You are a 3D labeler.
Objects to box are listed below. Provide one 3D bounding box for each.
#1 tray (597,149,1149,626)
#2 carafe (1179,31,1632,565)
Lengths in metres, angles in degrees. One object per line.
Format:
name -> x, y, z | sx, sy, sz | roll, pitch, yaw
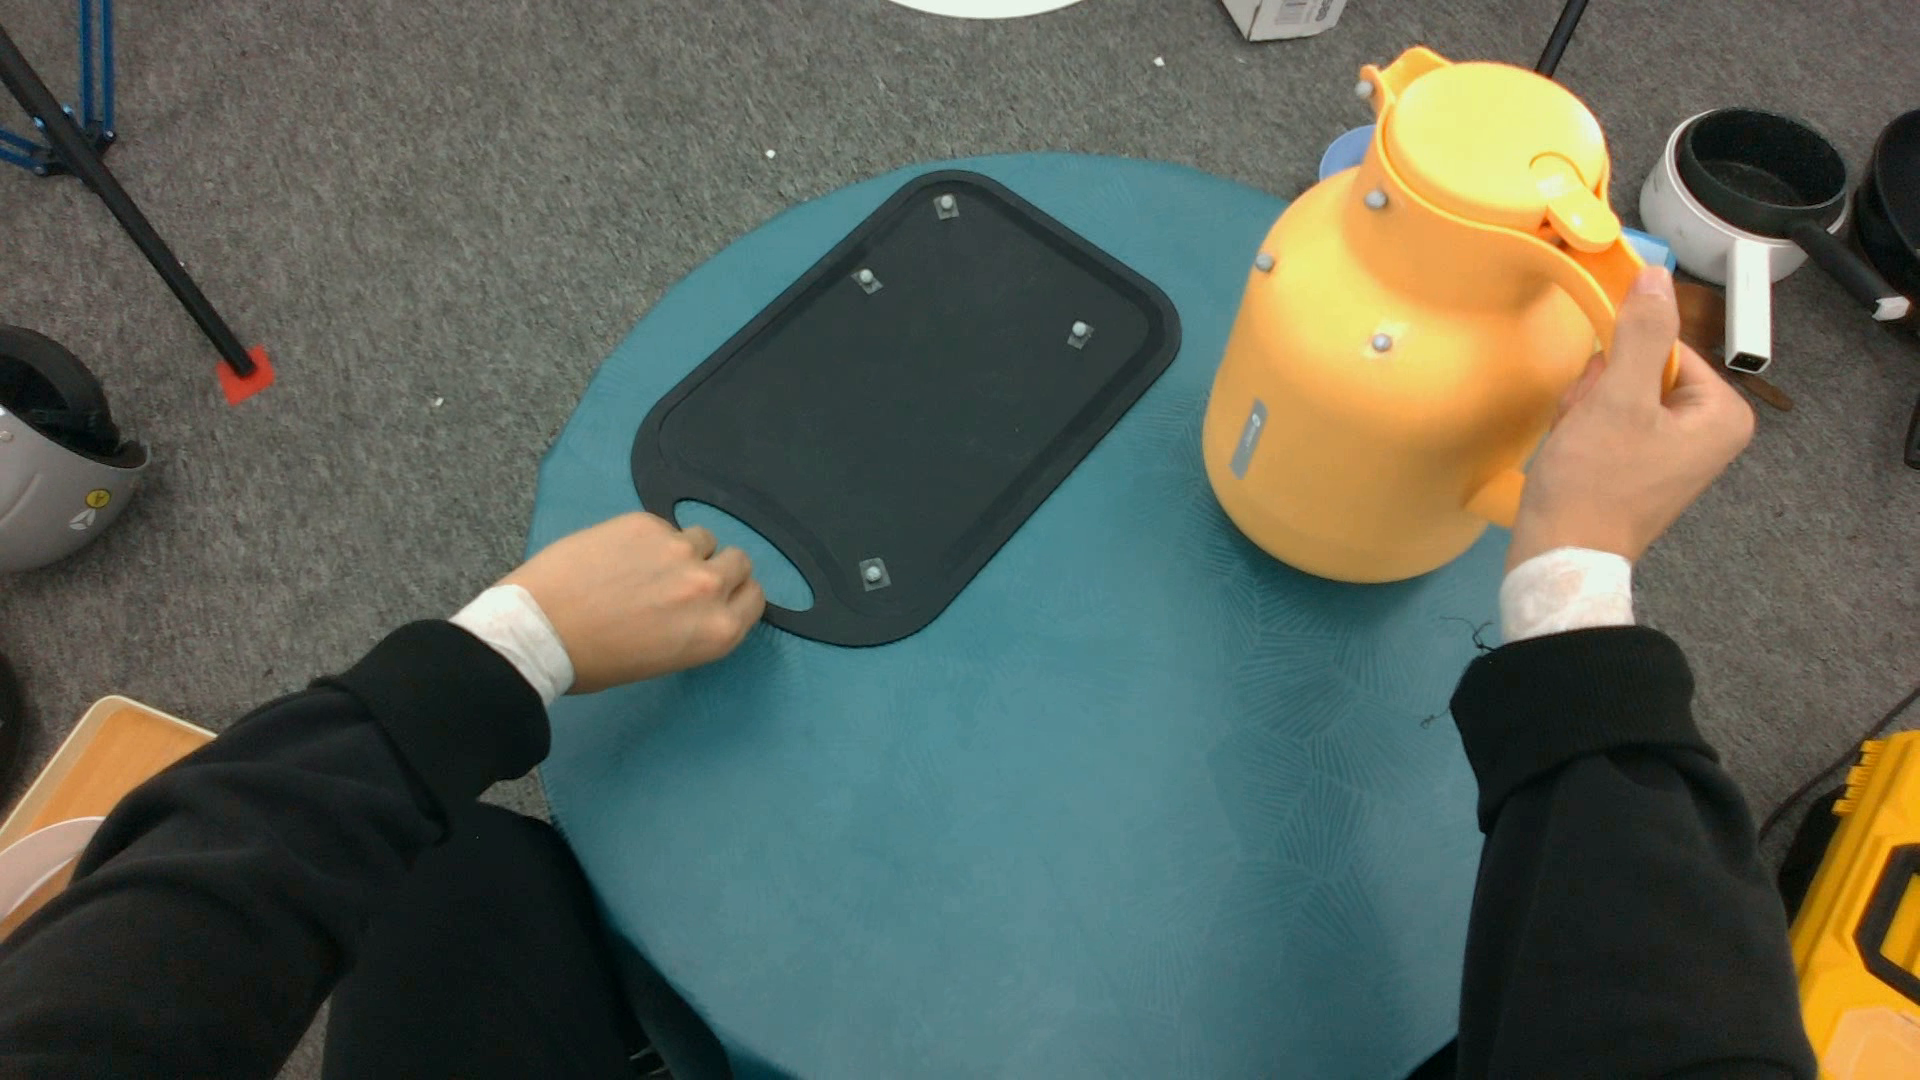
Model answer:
tray -> -0.048, -0.097, 0.795 | 0.211, 0.010, 0.326 | 37, 66, 15
carafe -> 0.211, -0.097, 0.665 | 0.164, 0.259, 0.203 | -24, 60, -15
